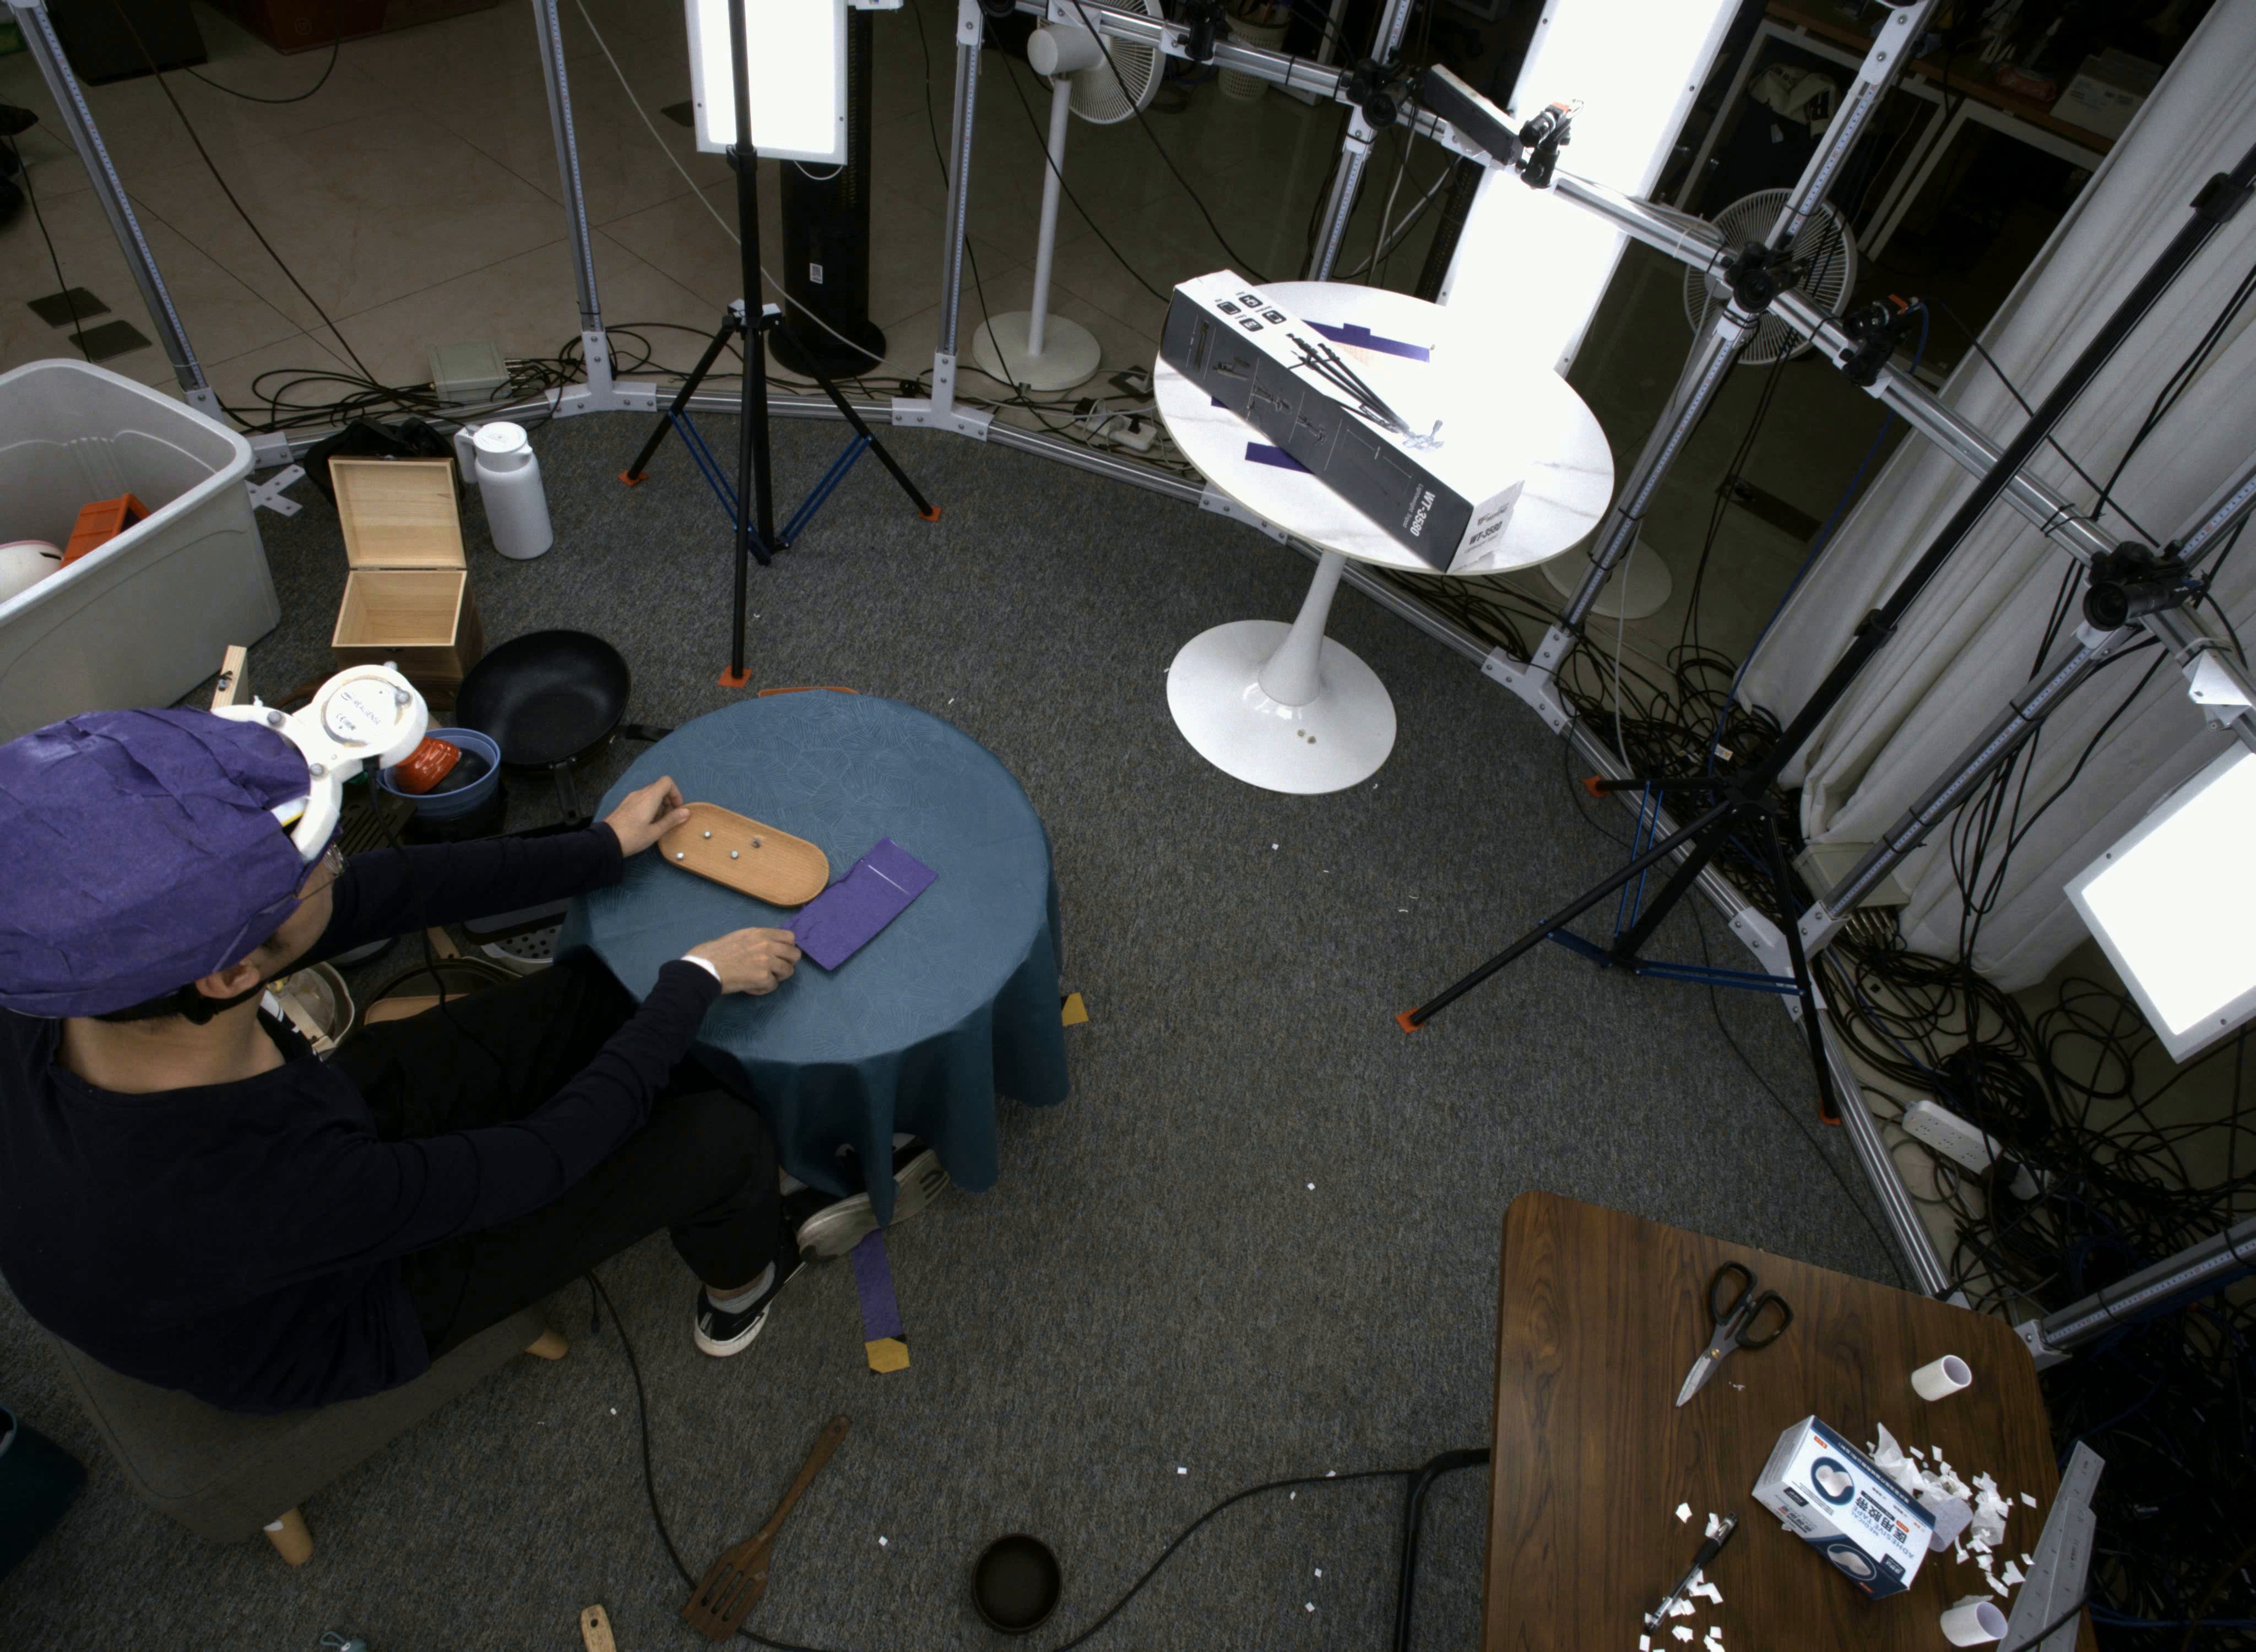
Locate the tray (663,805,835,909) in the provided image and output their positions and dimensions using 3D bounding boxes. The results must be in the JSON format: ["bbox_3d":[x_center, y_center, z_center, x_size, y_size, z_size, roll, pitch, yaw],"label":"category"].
[{"bbox_3d":[-0.491,0.039,1.675,0.230,0.020,0.101,21,57,-2],"label":"tray"}]

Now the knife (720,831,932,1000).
[{"bbox_3d":[-0.372,0.121,1.640,0.102,0.033,0.315,35,53,11],"label":"knife"}]
